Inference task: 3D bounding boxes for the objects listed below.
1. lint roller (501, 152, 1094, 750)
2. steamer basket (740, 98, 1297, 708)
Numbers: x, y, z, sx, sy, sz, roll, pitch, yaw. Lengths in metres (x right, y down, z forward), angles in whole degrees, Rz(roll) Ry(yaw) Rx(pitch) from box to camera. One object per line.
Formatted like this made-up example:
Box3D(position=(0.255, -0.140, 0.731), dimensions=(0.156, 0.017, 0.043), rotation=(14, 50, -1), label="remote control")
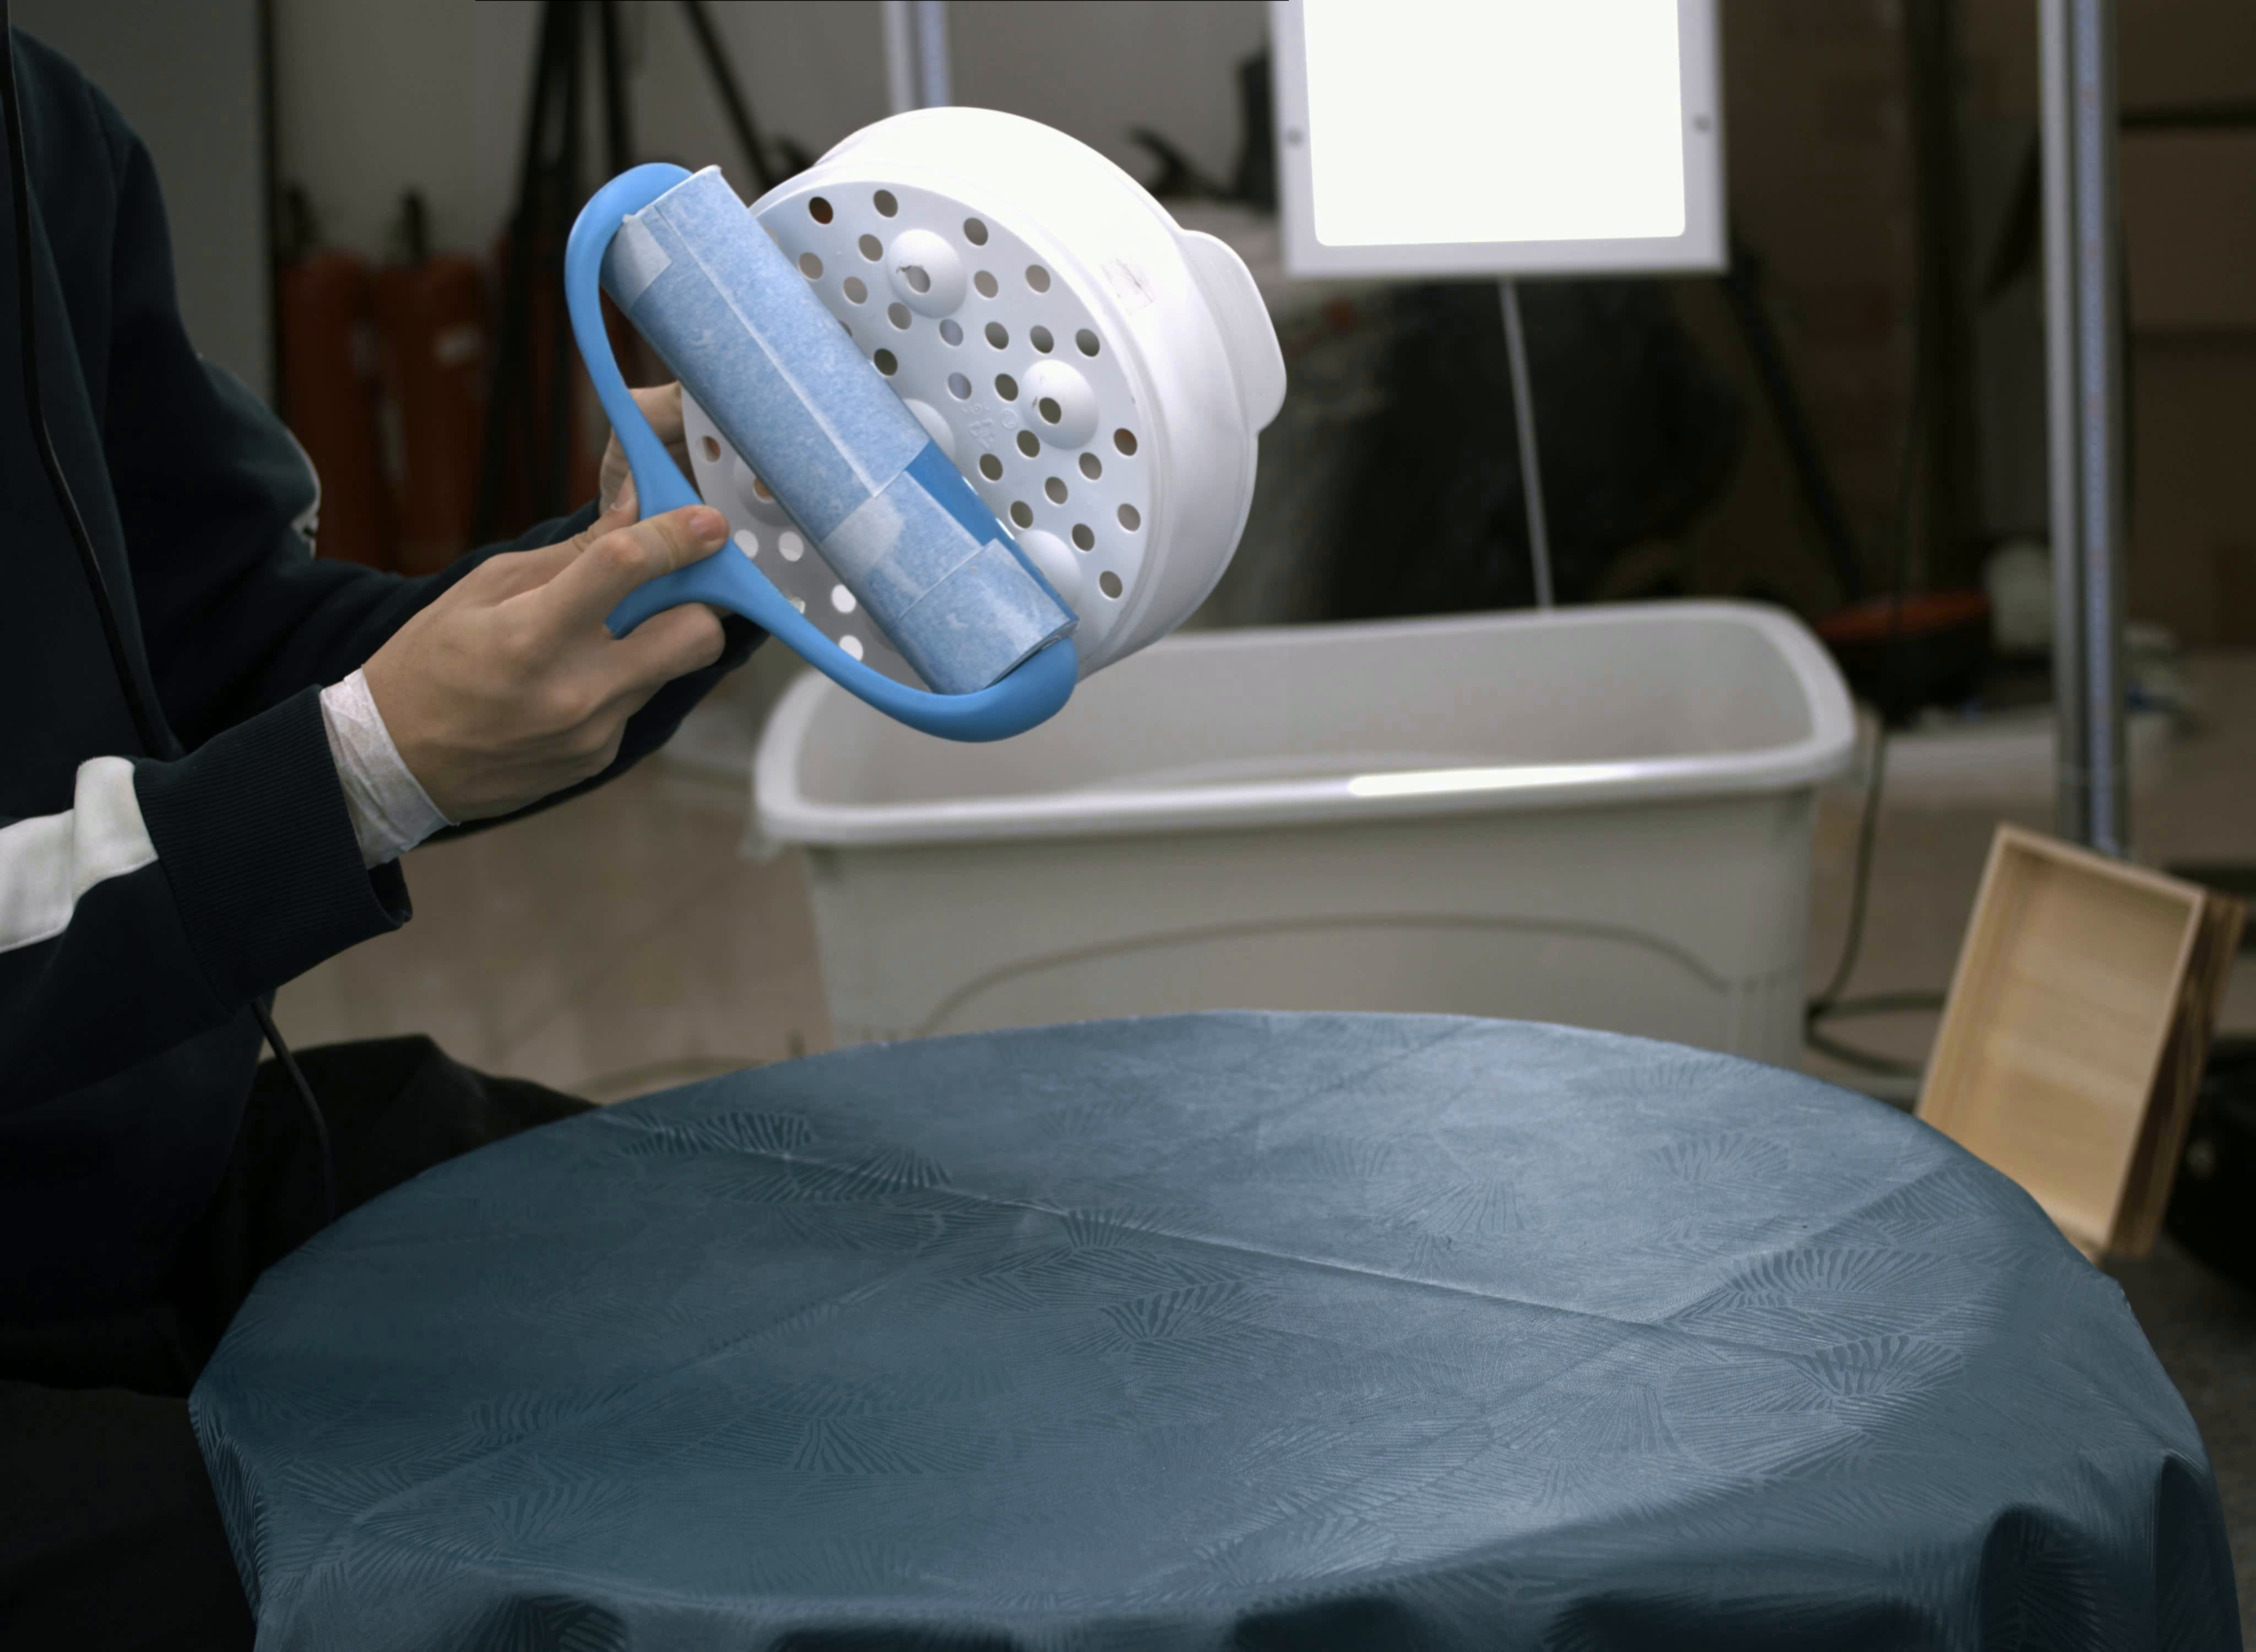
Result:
Box3D(position=(-0.137, -0.089, 1.809), dimensions=(0.181, 0.229, 0.067), rotation=(-44, -2, 4), label="lint roller")
Box3D(position=(-0.055, -0.138, 1.846), dimensions=(0.235, 0.202, 0.067), rotation=(-13, 13, 36), label="steamer basket")
